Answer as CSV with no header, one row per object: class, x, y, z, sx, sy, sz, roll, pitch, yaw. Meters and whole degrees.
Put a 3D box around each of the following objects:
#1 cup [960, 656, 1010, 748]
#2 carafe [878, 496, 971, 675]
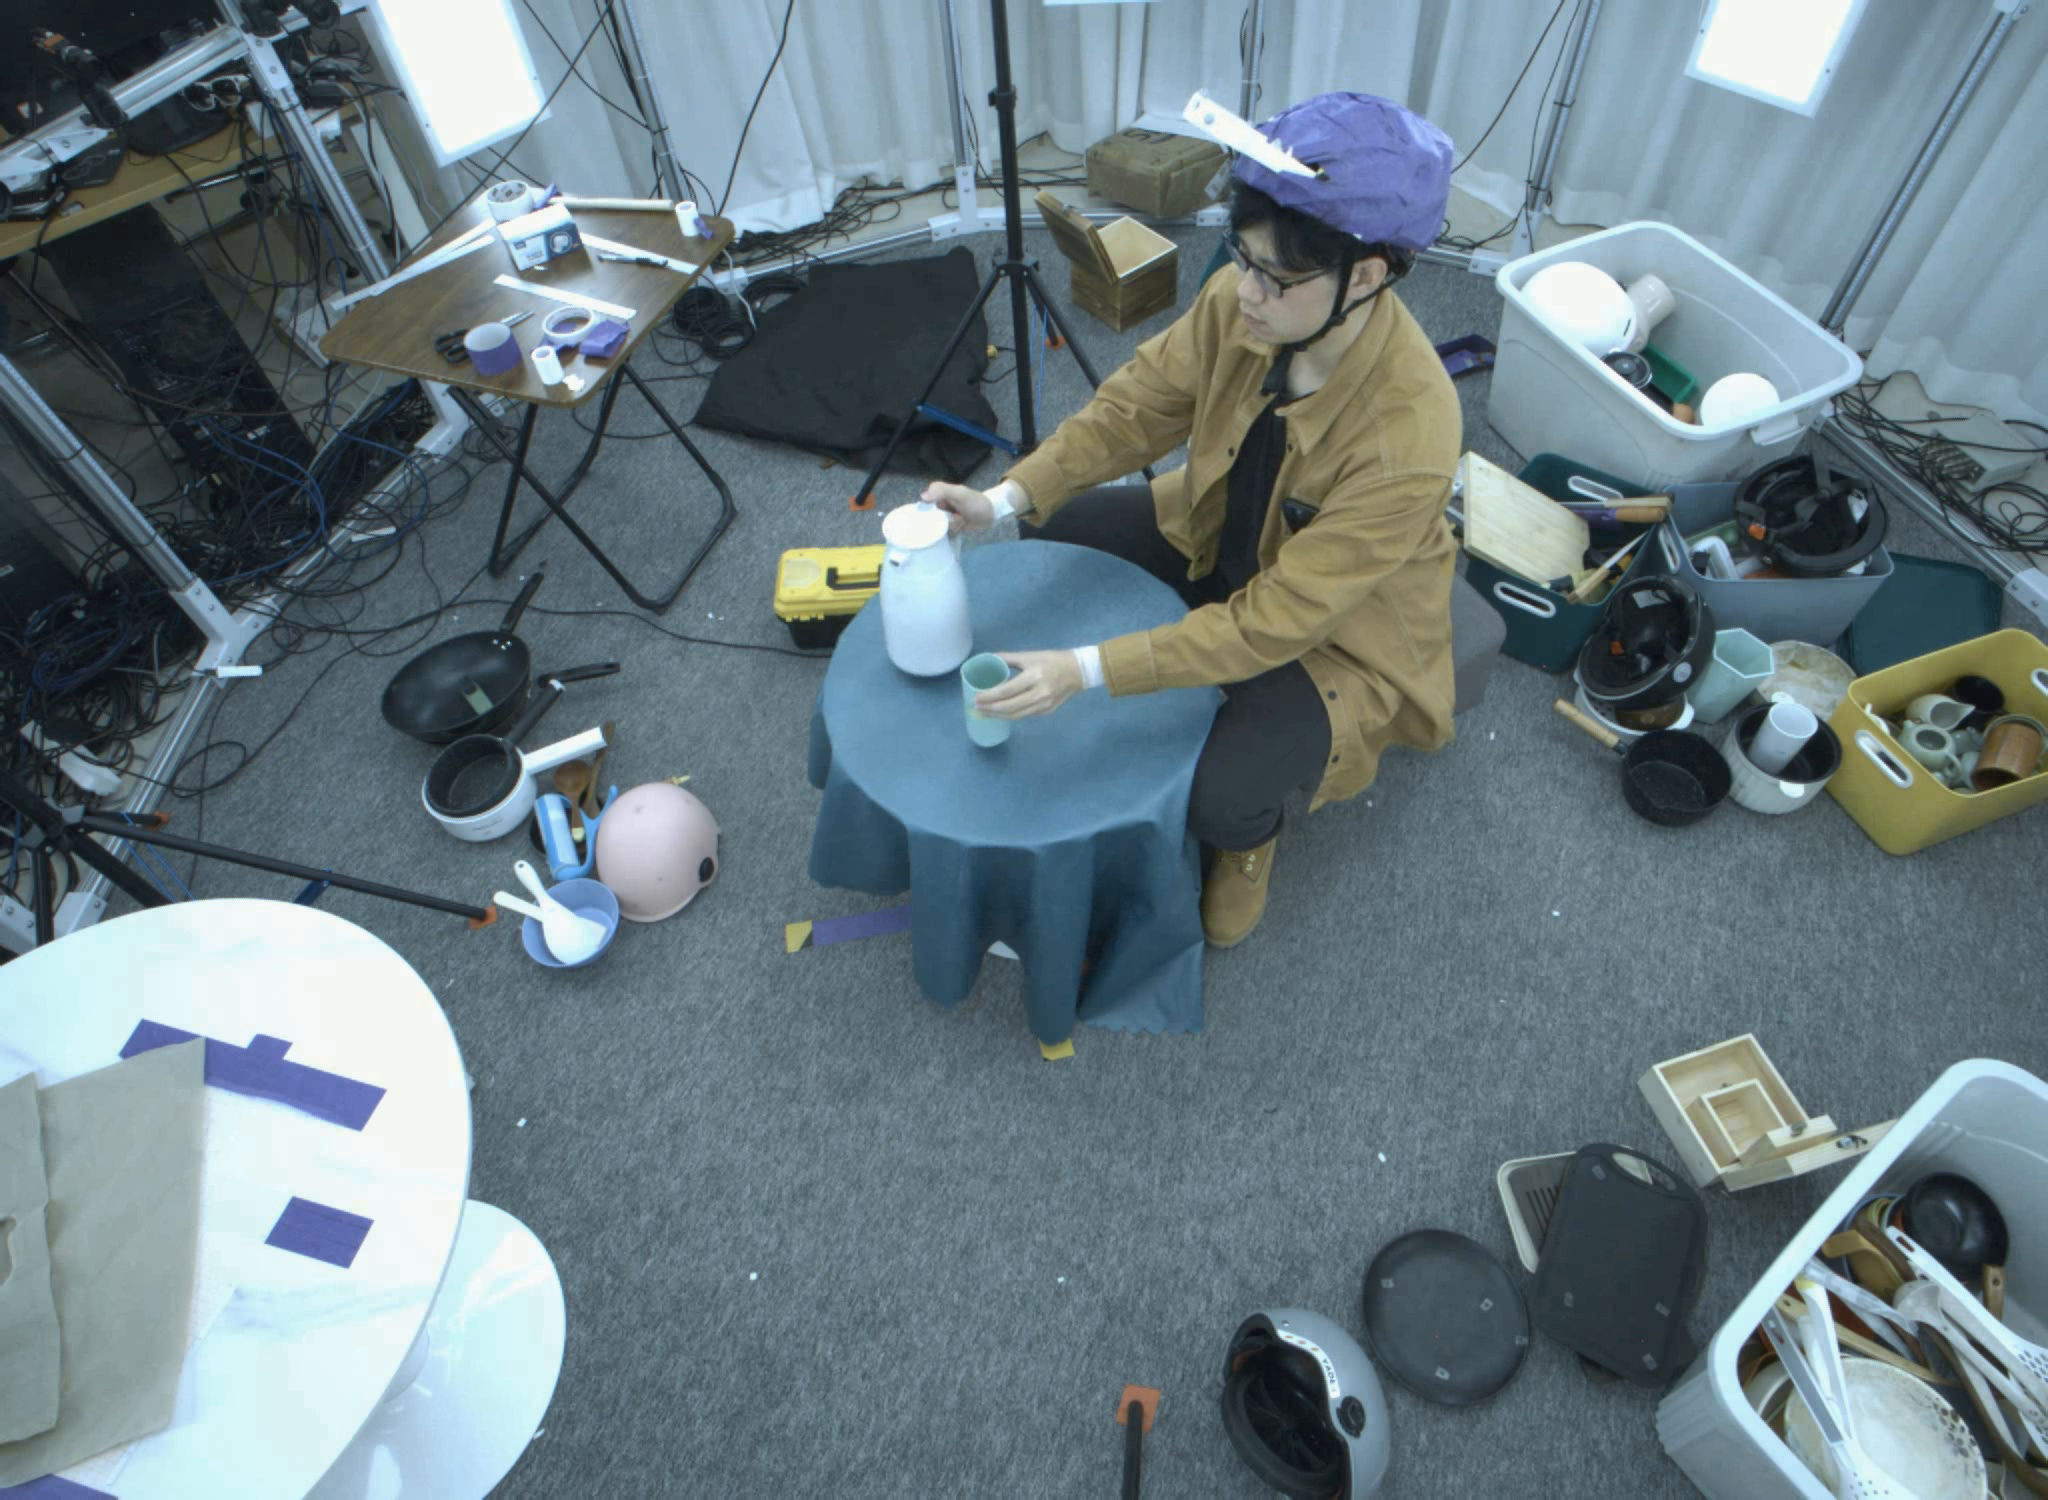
cup,-0.052,-0.067,1.717,0.067,0.133,0.066,0,55,1
carafe,-0.142,-0.254,1.783,0.131,0.251,0.168,19,54,16
